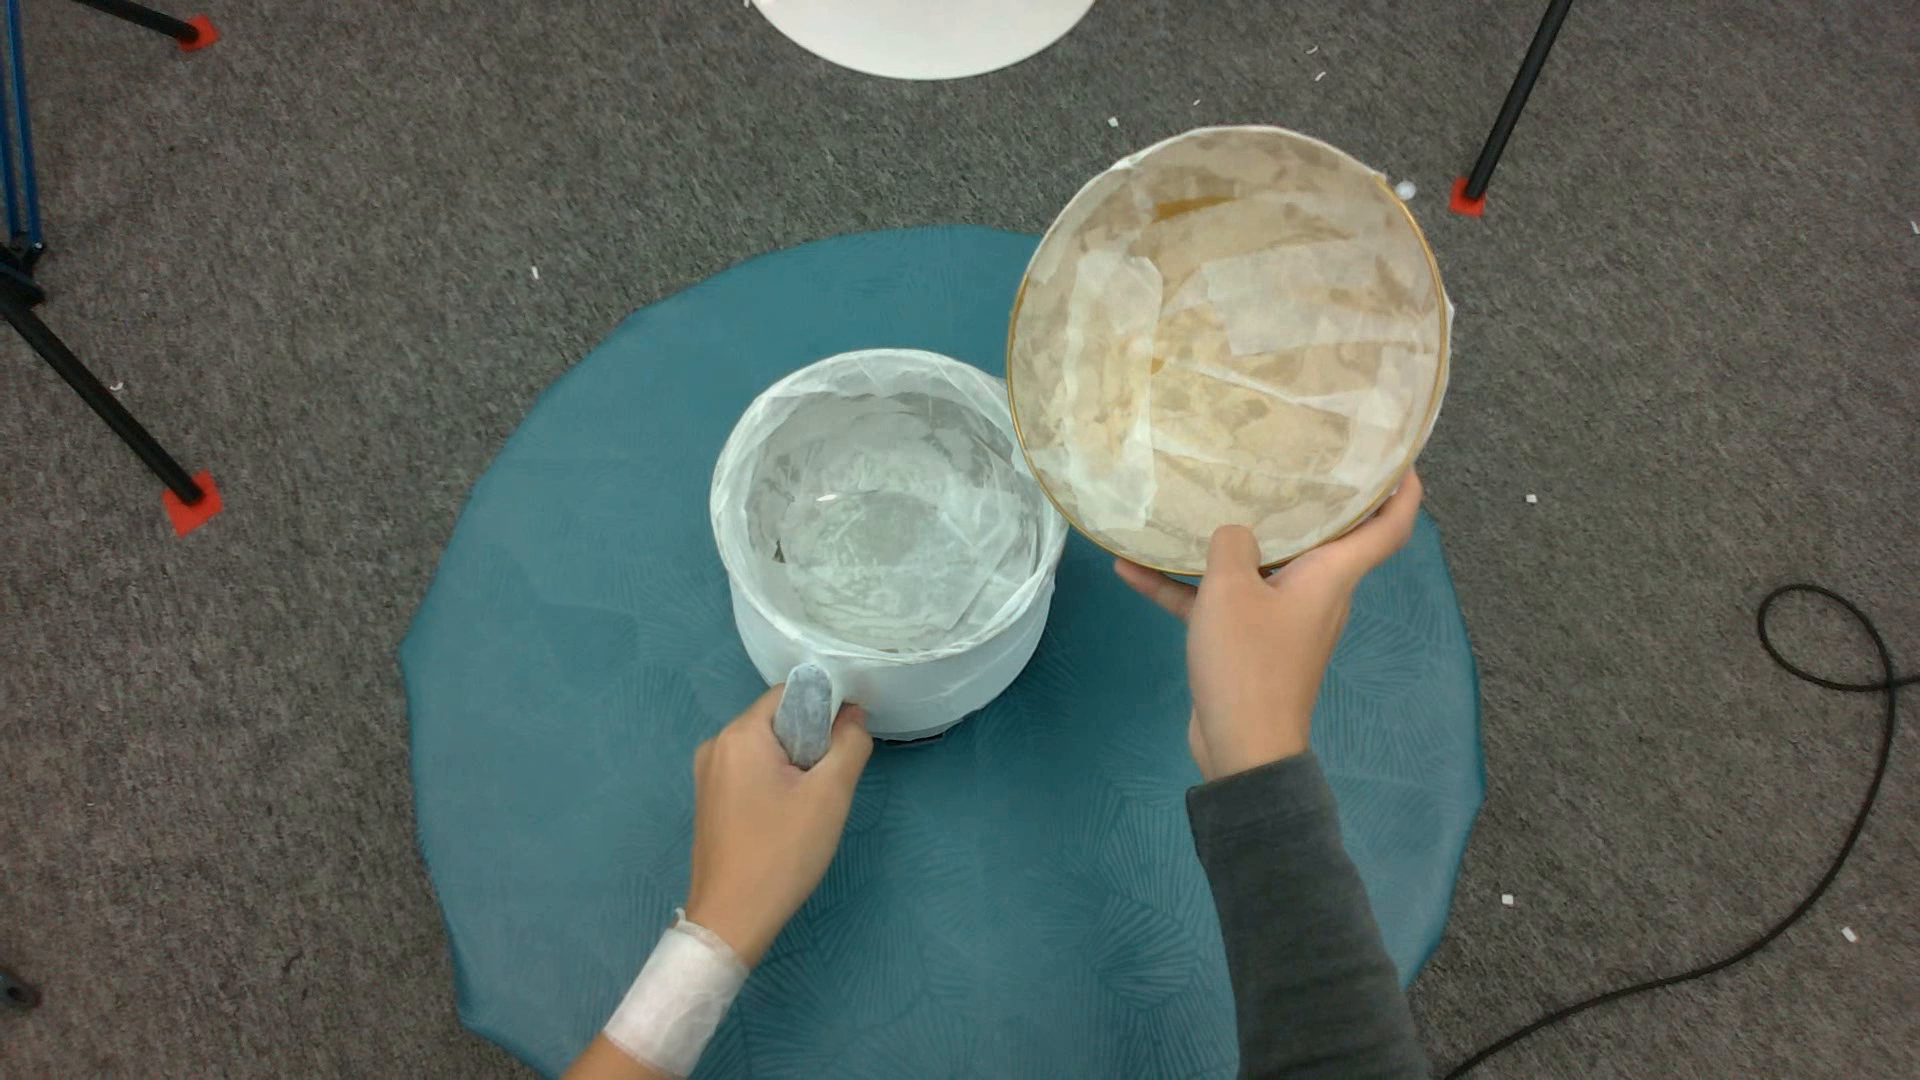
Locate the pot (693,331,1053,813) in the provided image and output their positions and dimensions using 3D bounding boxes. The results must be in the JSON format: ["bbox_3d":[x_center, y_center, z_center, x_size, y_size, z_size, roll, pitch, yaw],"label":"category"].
[{"bbox_3d":[-0.054,0.023,0.719,0.178,0.136,0.234,18,64,6],"label":"pot"}]

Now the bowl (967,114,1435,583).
[{"bbox_3d":[0.120,-0.086,0.656,0.214,0.095,0.215,-1,88,22],"label":"bowl"}]
